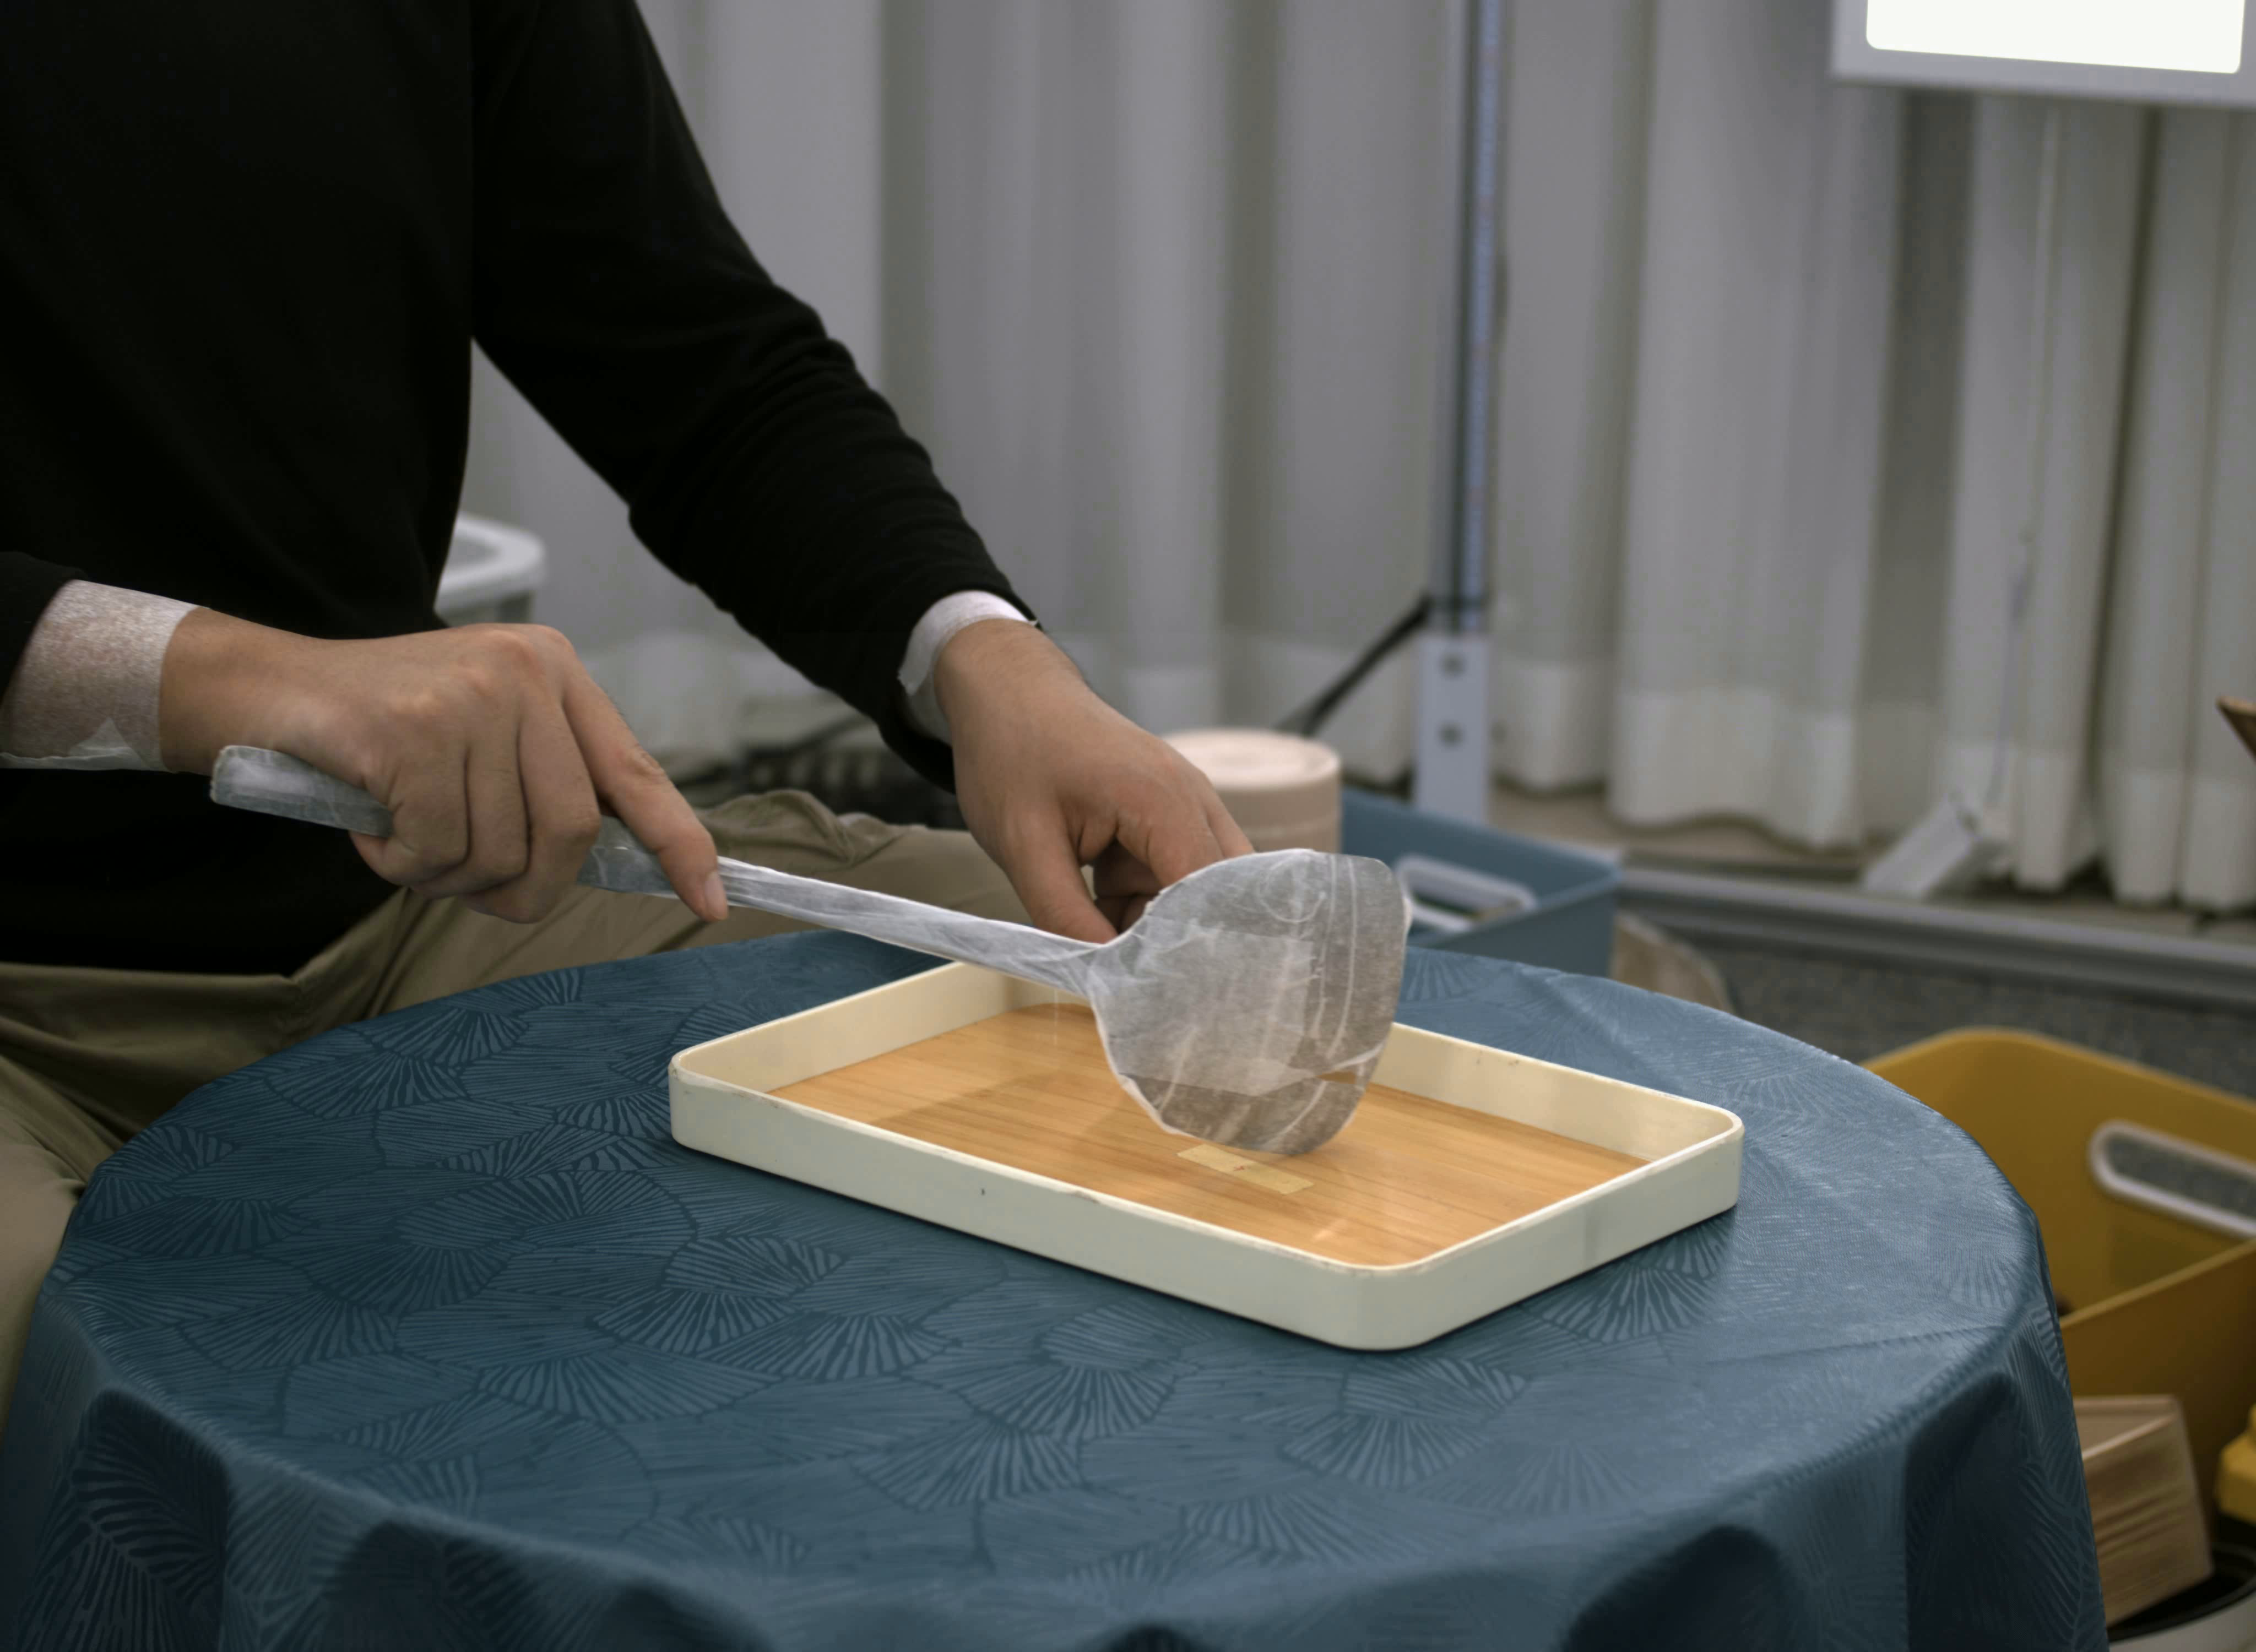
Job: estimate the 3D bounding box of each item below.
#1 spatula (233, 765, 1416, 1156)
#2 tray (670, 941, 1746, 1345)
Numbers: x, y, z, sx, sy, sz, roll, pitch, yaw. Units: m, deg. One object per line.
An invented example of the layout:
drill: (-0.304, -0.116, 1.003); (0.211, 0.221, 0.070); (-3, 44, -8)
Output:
spatula: (-0.086, 0.024, 1.580); (0.365, 0.099, 0.044); (13, 10, -11)
tray: (0.022, 0.094, 1.637); (0.296, 0.027, 0.192); (13, 20, 39)
